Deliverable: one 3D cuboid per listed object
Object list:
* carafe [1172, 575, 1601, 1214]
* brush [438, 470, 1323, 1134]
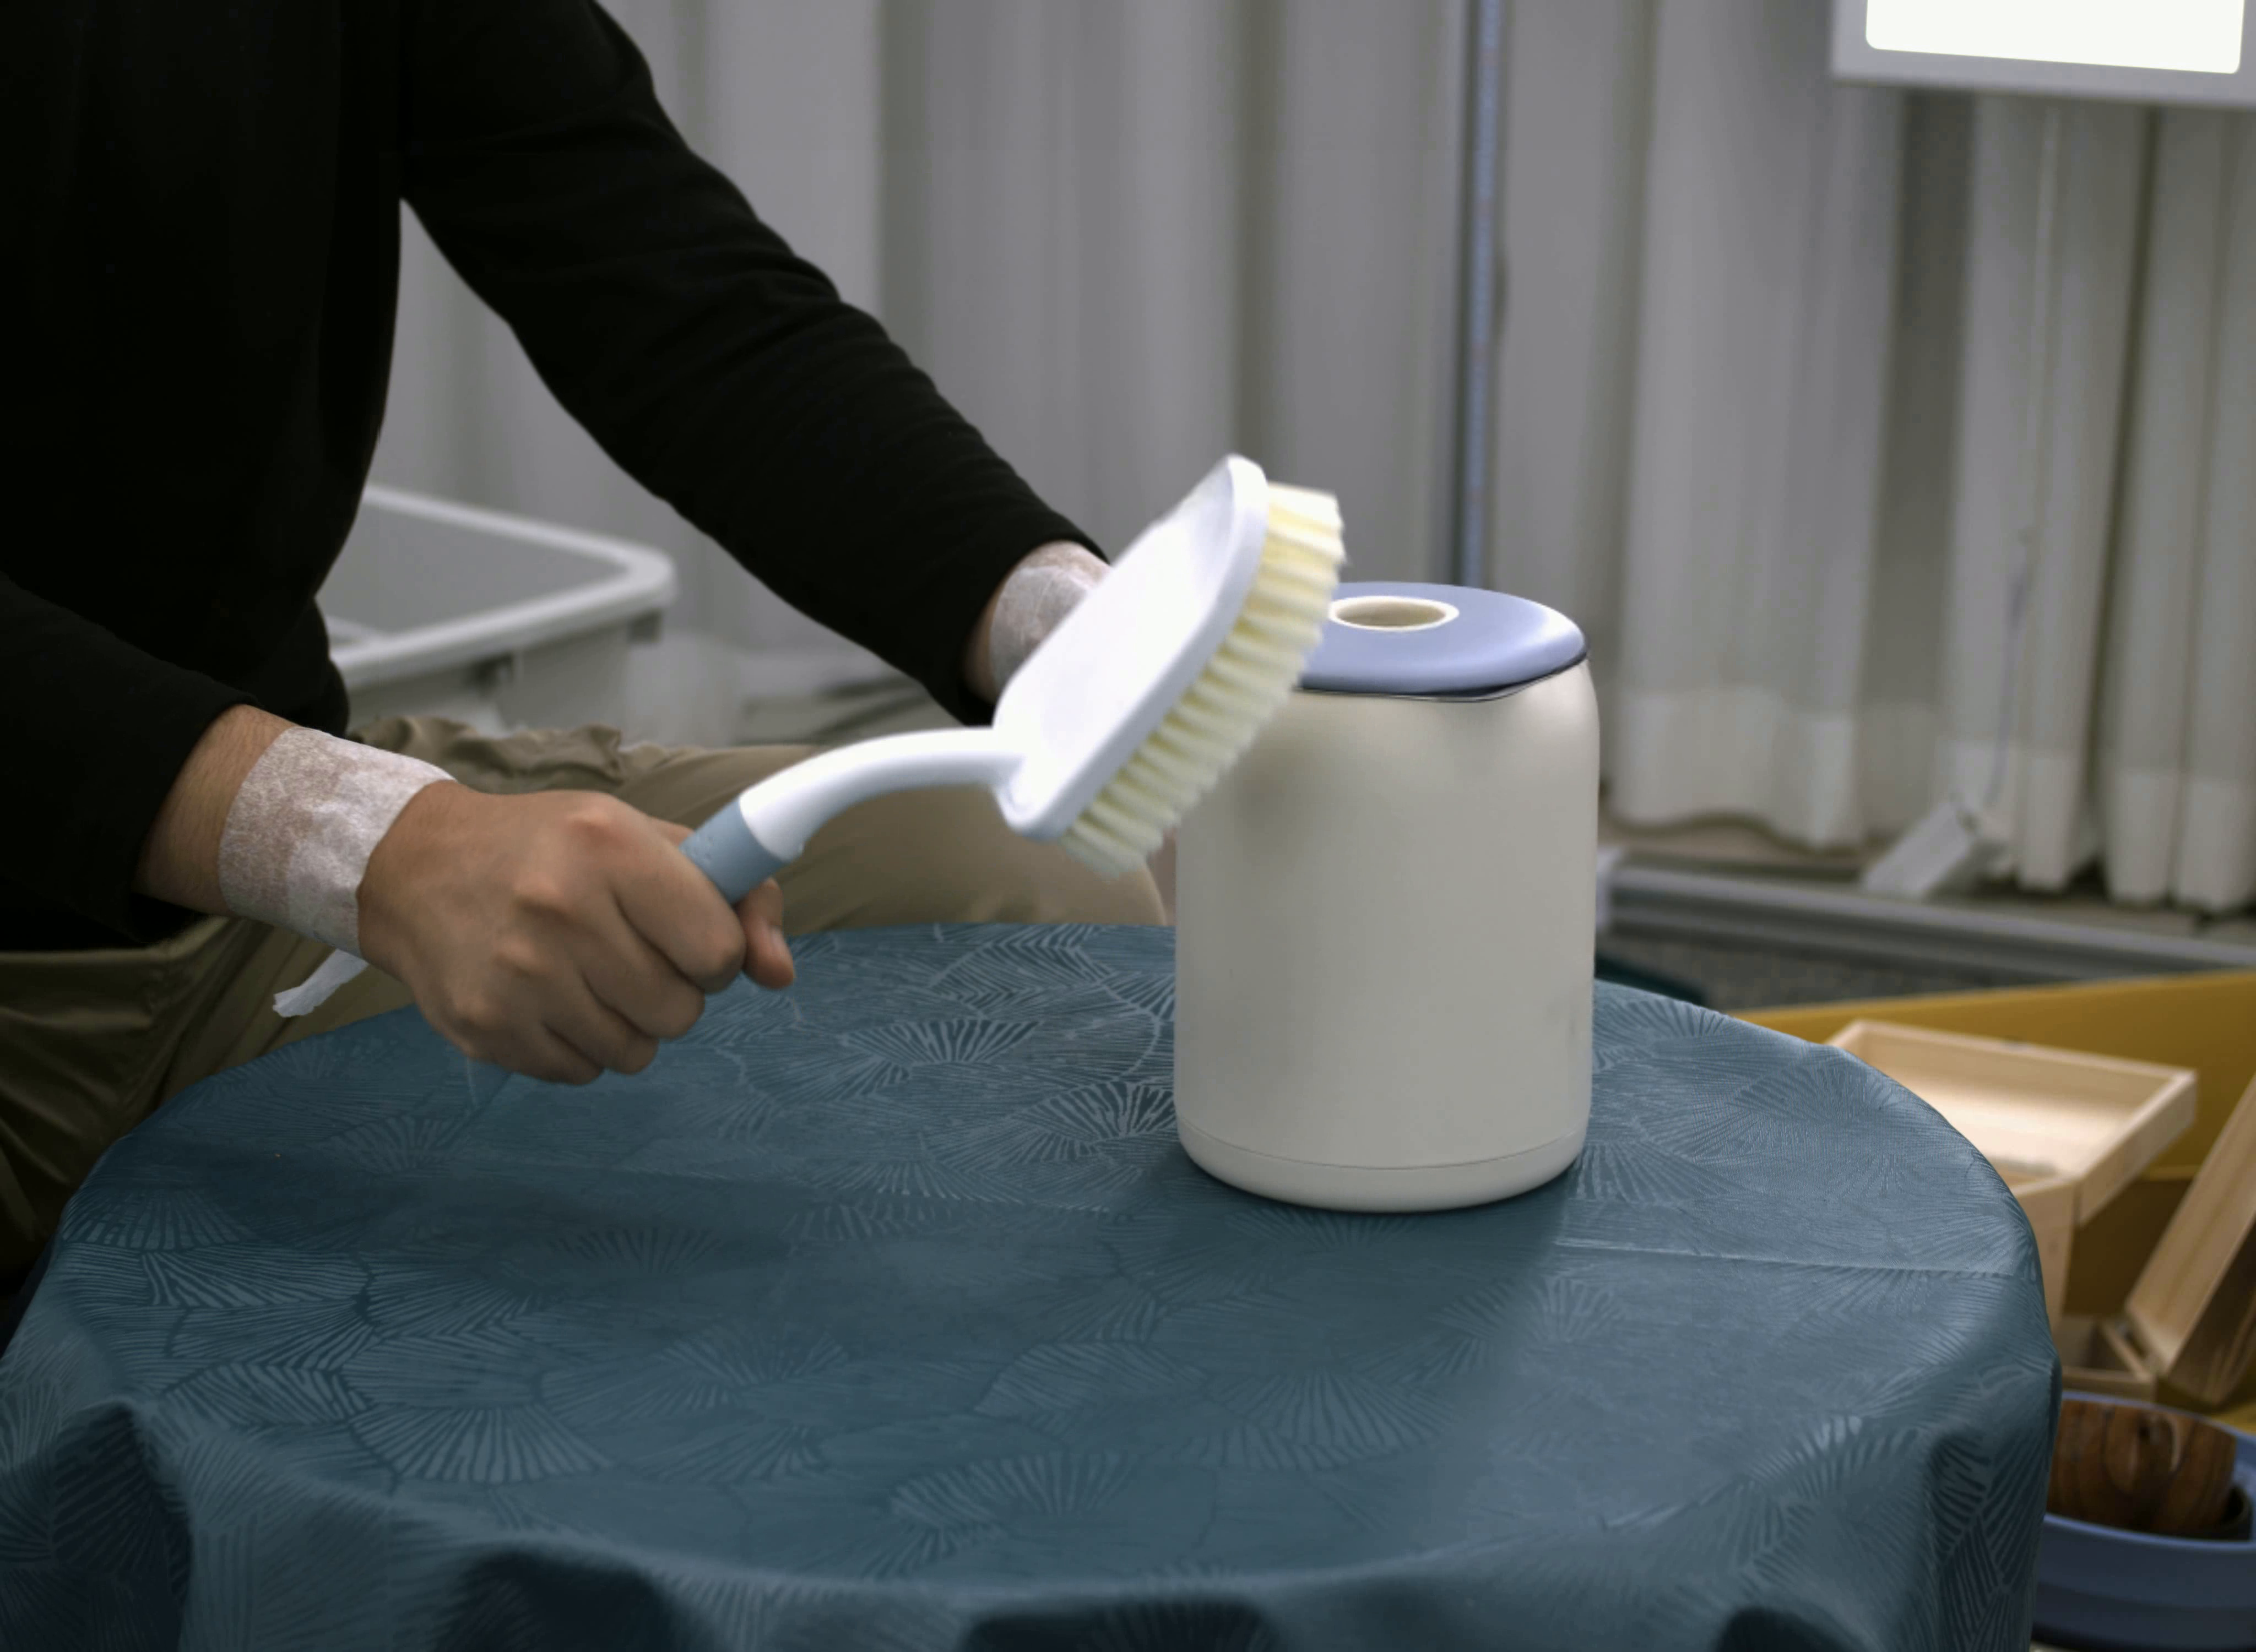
[{"bbox_3d":[0.070,0.014,1.655,0.132,0.184,0.189,-6,16,-23],"label":"carafe"},{"bbox_3d":[-0.065,0.009,1.540,0.325,0.084,0.083,-37,-2,20],"label":"brush"}]
